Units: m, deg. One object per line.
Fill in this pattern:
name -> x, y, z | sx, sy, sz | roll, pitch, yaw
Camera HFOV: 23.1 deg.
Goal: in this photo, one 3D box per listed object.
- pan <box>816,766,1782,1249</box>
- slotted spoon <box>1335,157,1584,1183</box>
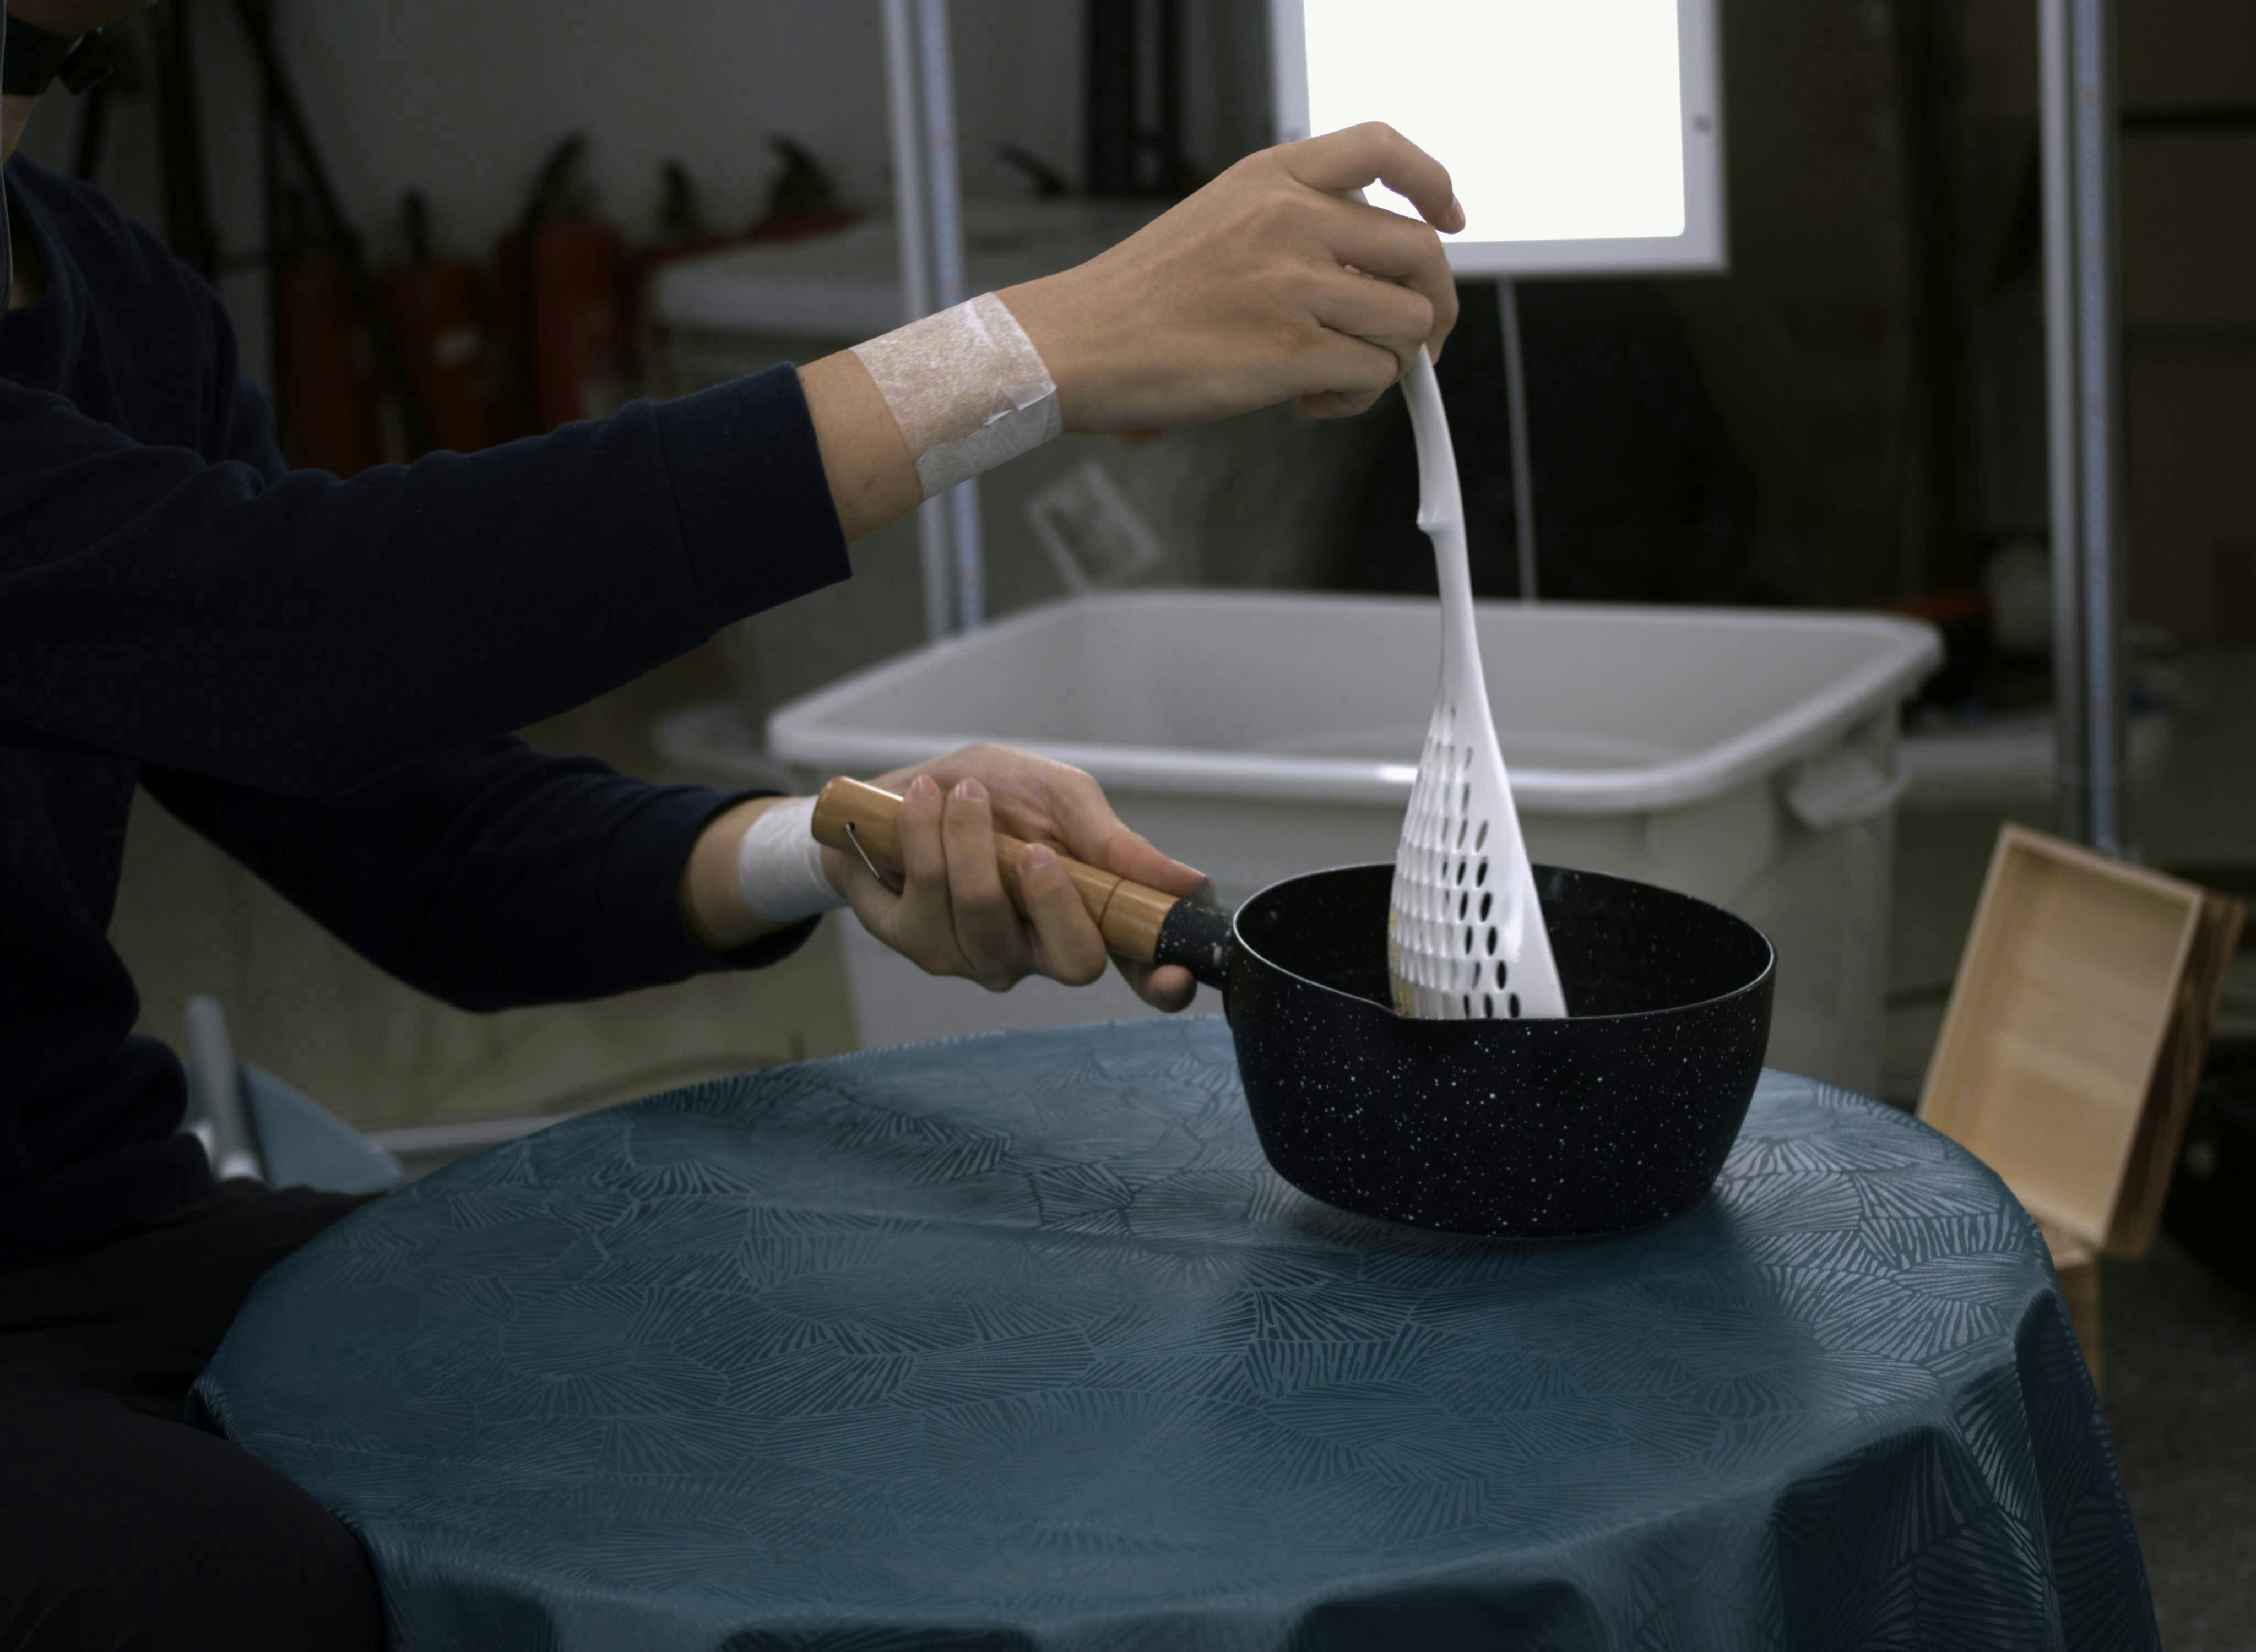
pan -> 0.050, 0.055, 1.872 | 0.347, 0.109, 0.204 | 8, 18, 18
slotted spoon -> 0.101, -0.047, 1.793 | 0.050, 0.349, 0.138 | -7, 14, -11
